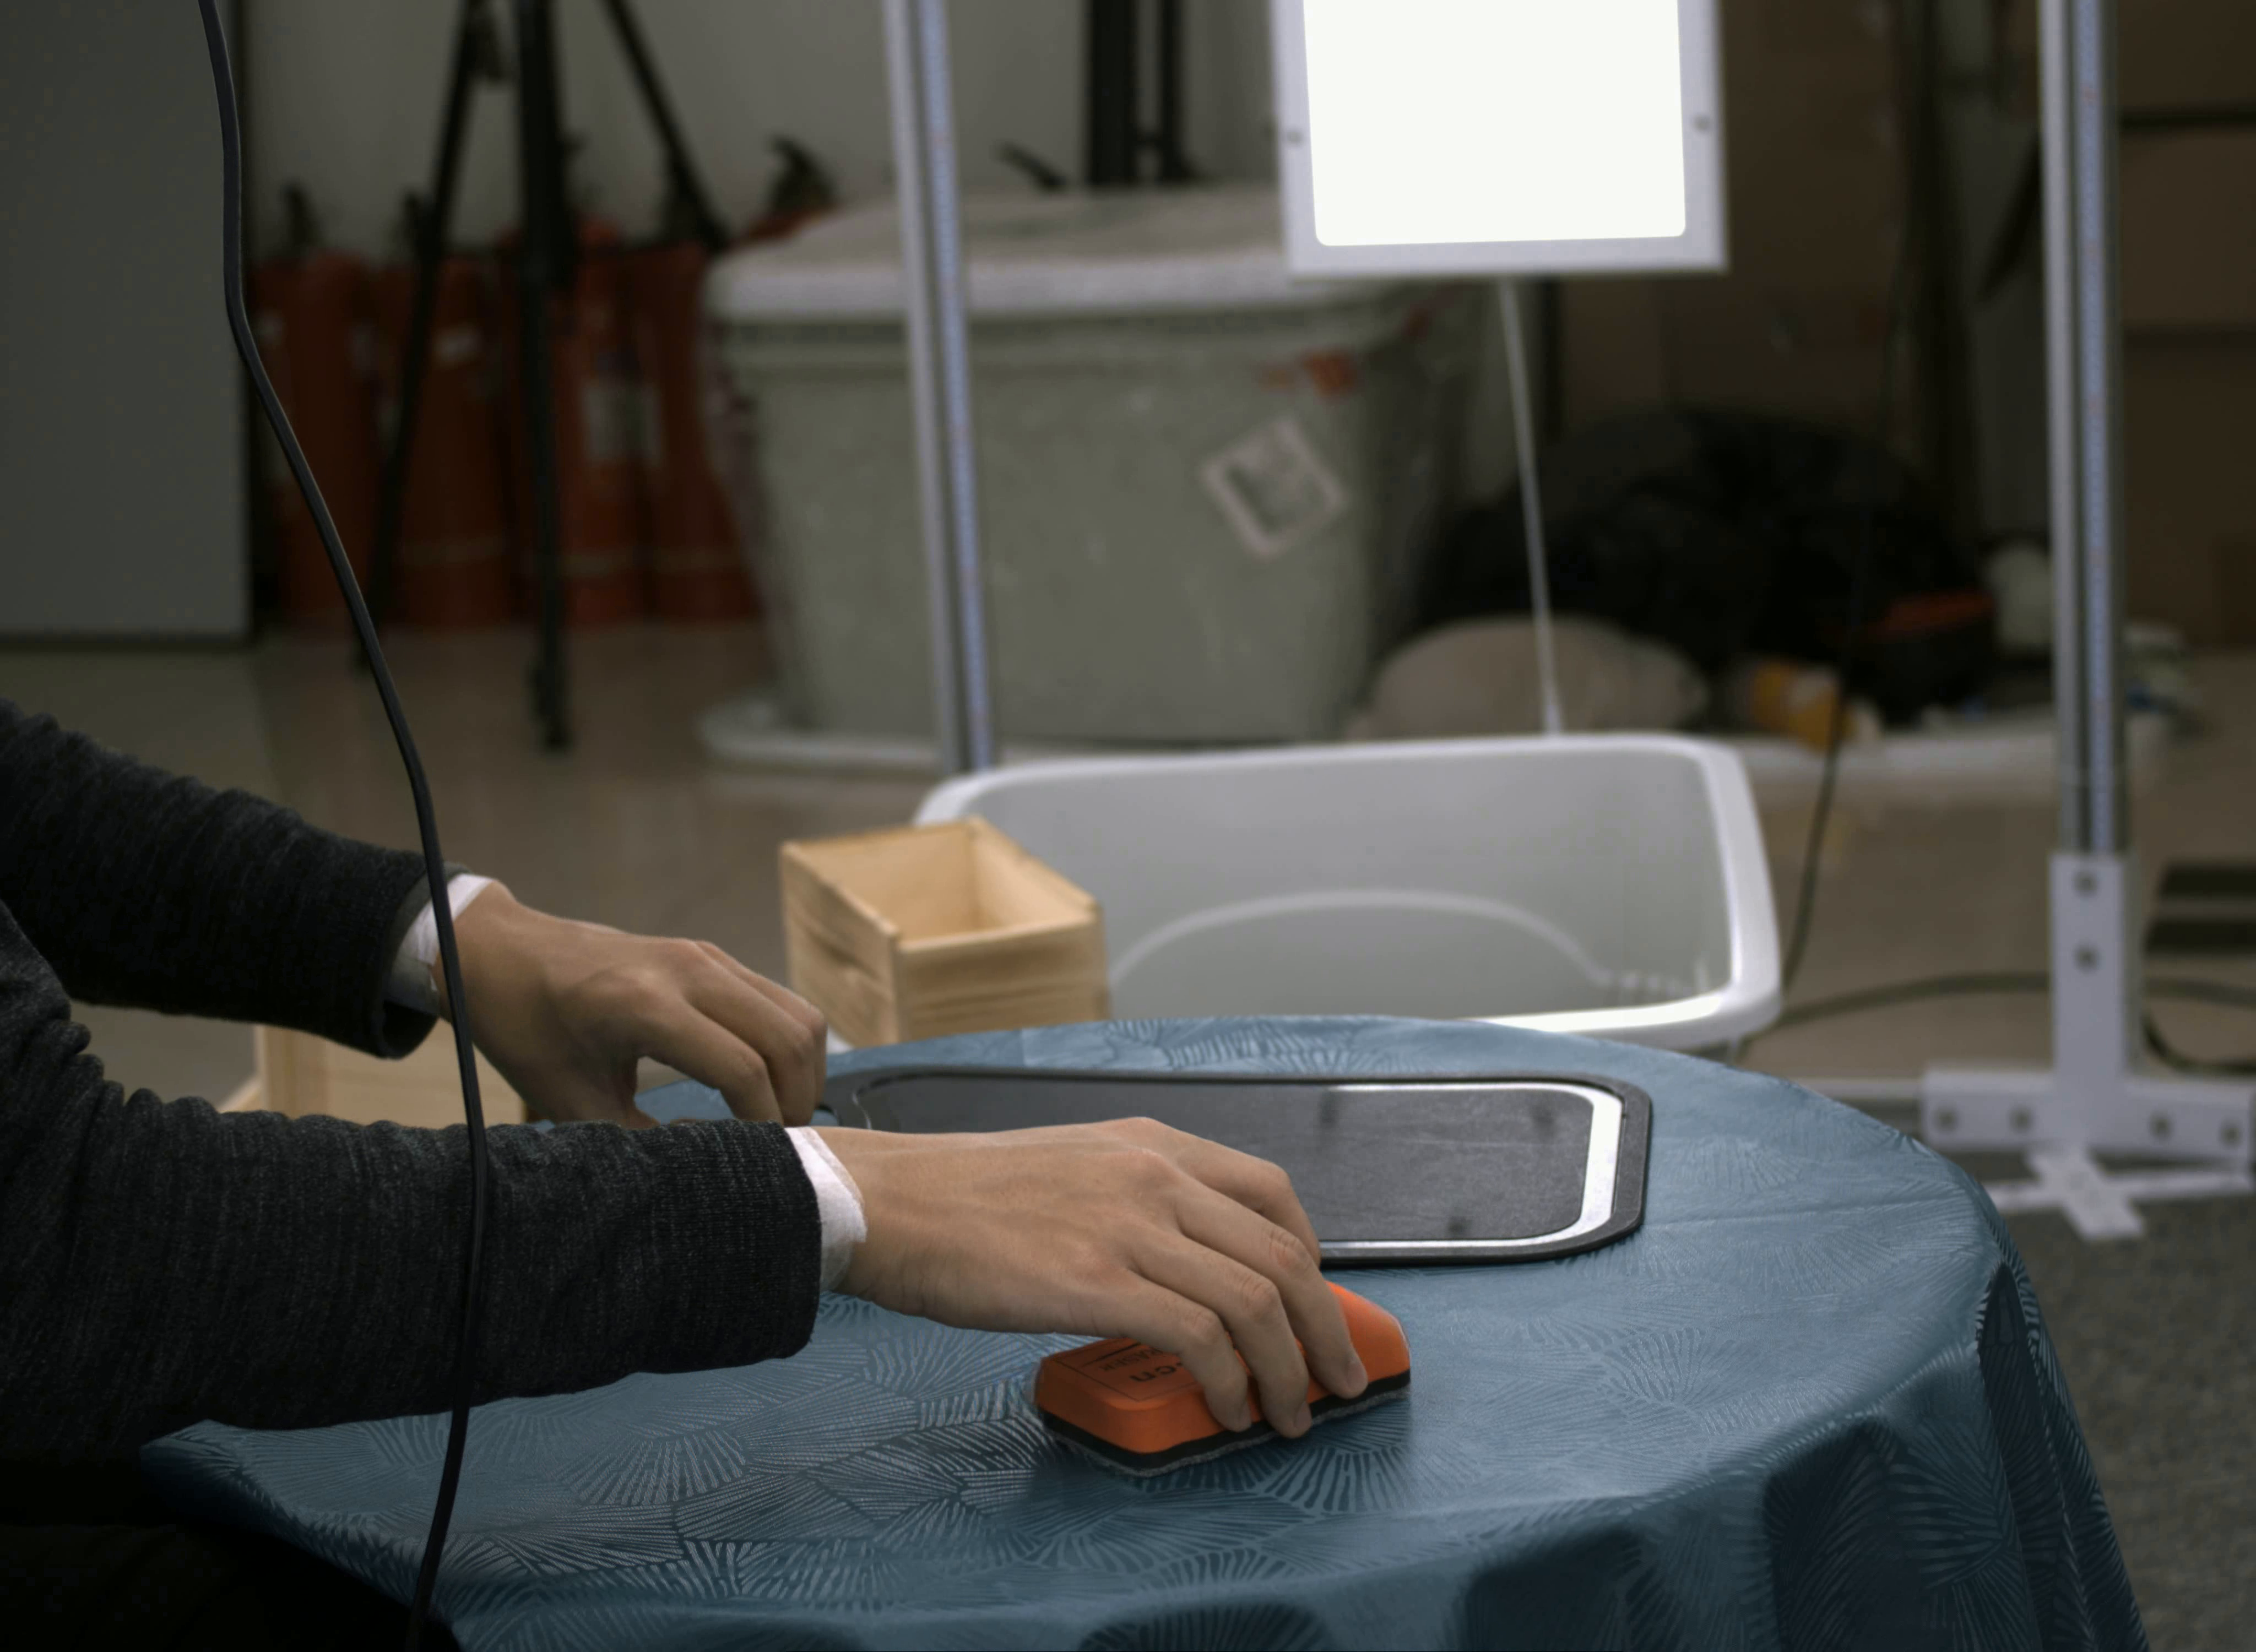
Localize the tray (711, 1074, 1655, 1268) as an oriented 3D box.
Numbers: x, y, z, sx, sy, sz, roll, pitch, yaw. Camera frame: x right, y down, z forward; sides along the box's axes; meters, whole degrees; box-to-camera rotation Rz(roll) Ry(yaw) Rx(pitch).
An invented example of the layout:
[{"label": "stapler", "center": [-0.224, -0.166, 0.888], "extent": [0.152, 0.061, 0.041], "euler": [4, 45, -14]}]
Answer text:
[{"label": "tray", "center": [0.018, 0.115, 1.905], "extent": [0.327, 0.010, 0.209], "euler": [-1, 14, 10]}]

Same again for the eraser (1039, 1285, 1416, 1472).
[{"label": "eraser", "center": [0.030, 0.166, 1.667], "extent": [0.105, 0.023, 0.060], "euler": [-13, 16, -29]}]
